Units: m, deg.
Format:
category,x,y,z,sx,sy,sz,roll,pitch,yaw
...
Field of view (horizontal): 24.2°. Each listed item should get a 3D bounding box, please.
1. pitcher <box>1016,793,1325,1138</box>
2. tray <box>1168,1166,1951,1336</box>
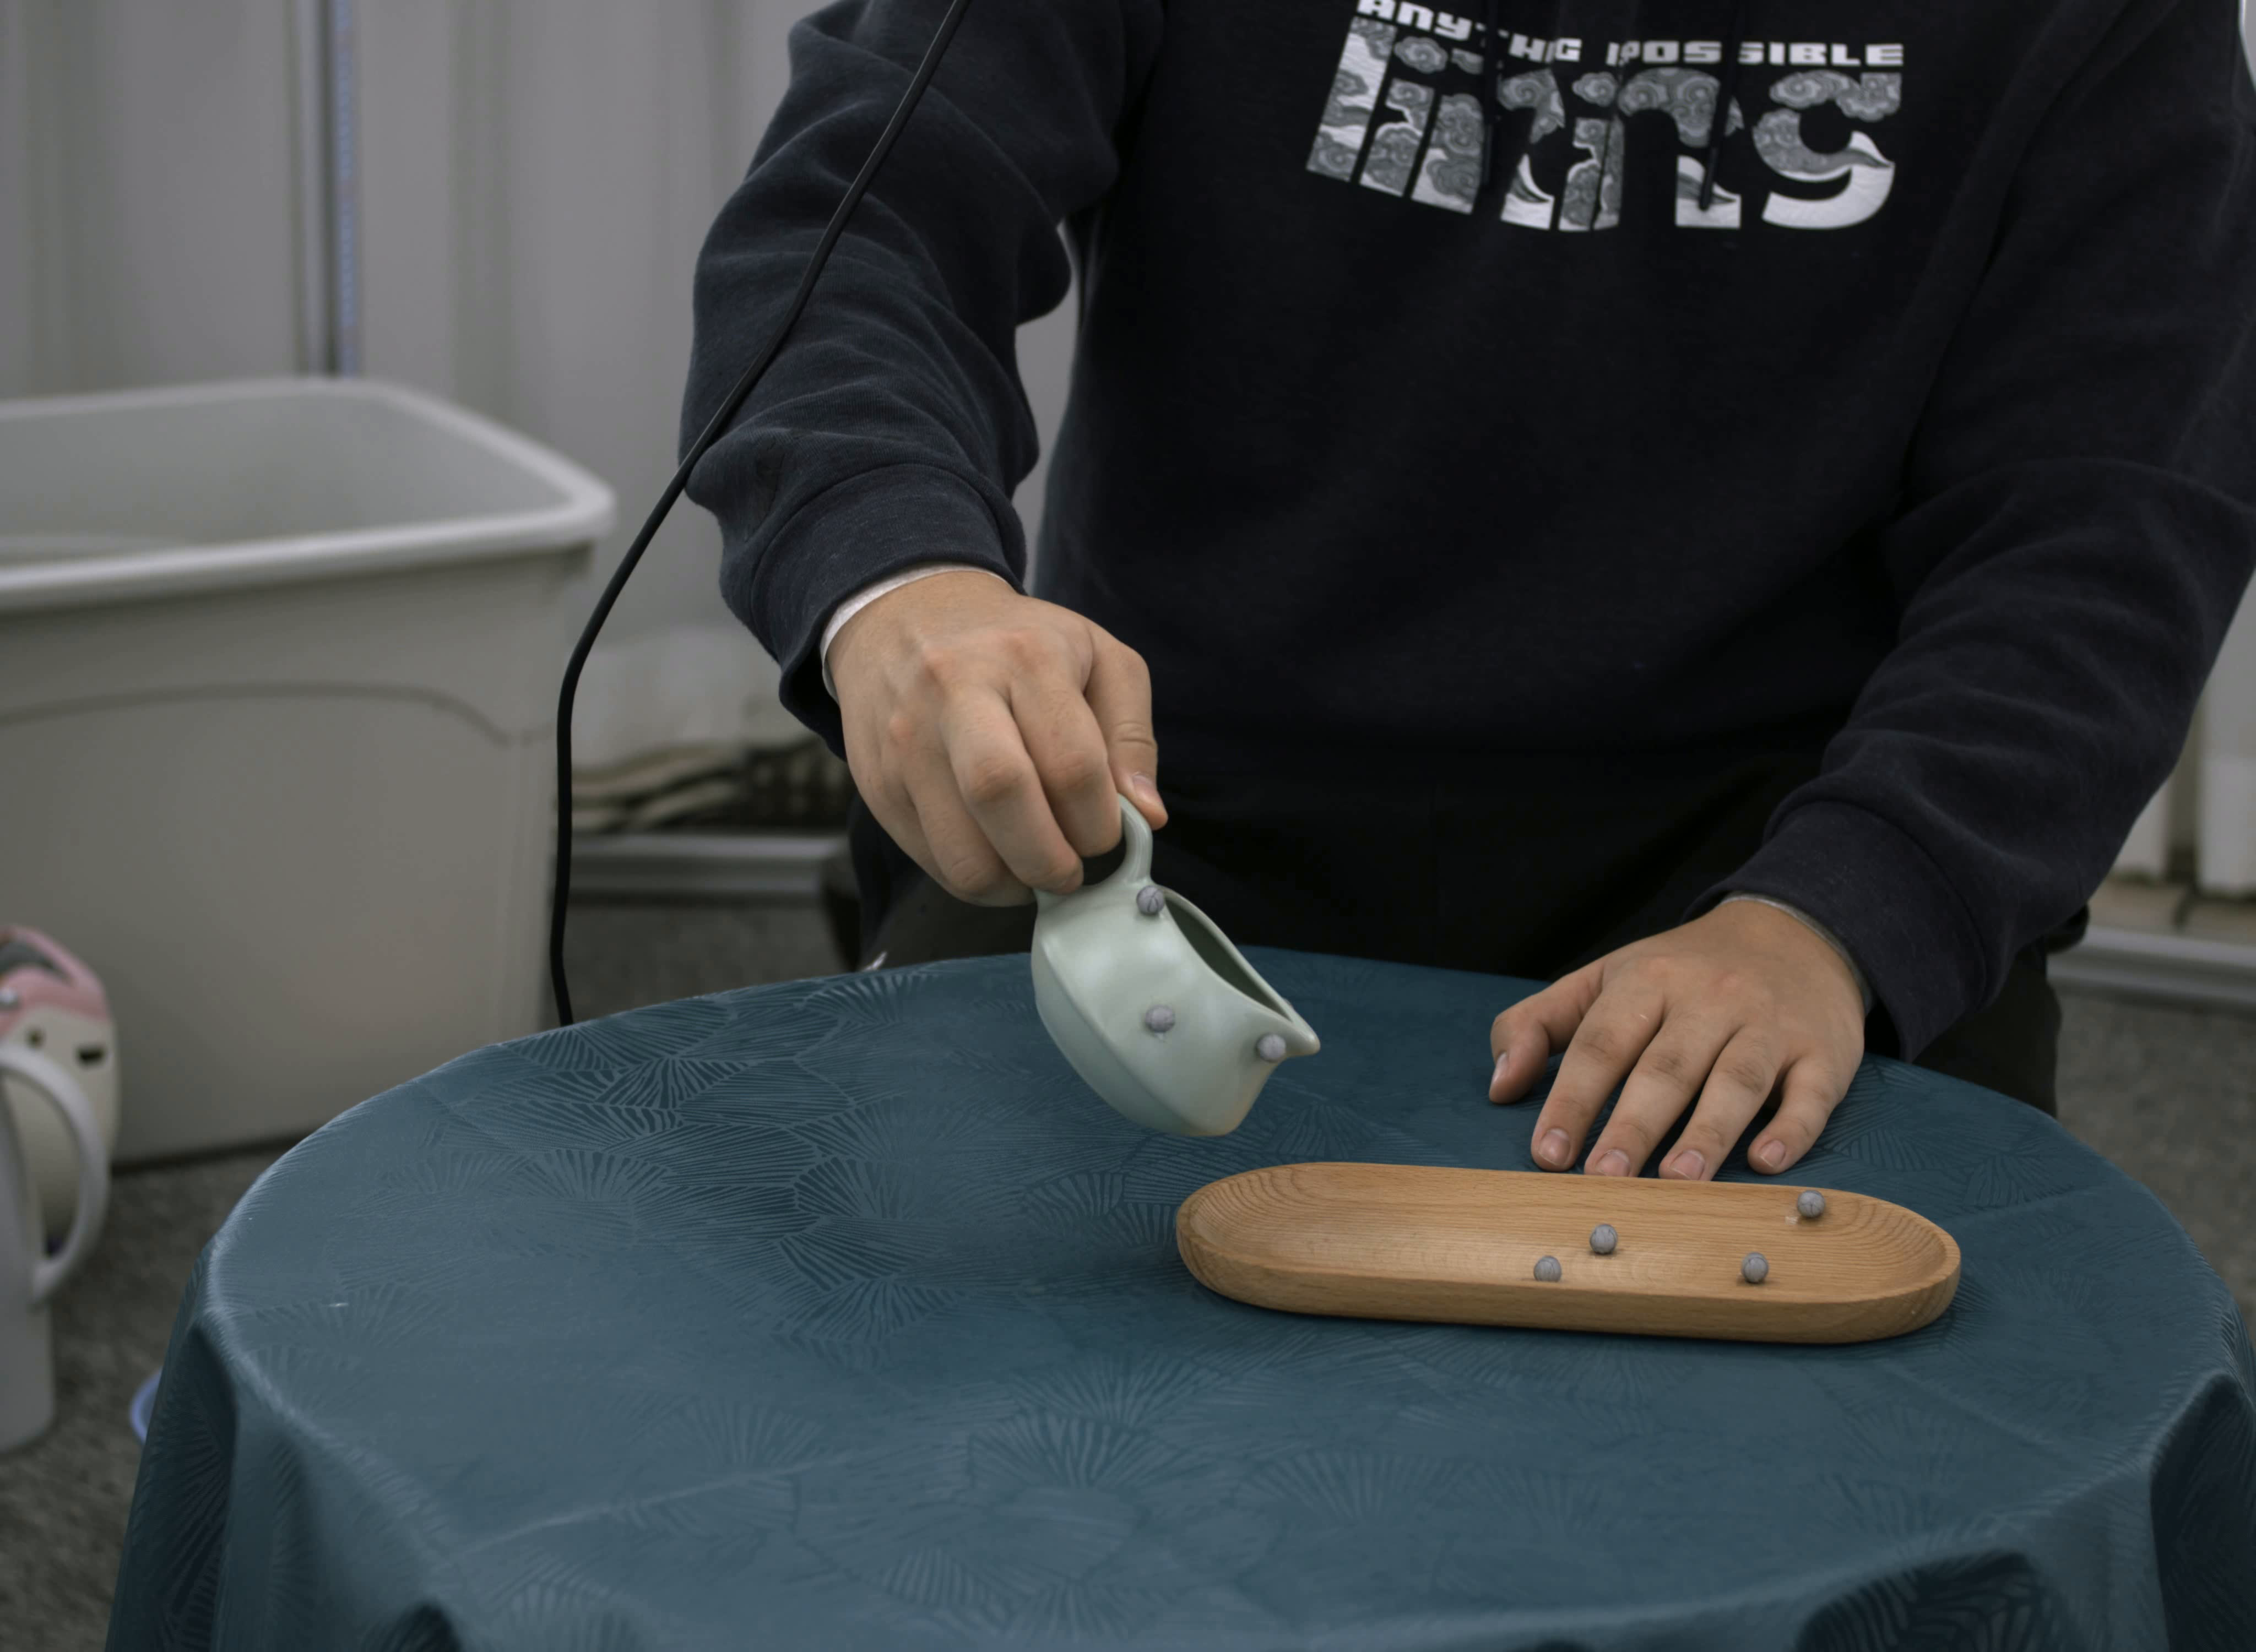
category,x,y,z,sx,sy,sz,roll,pitch,yaw
pitcher,0.003,0.042,1.539,0.108,0.060,0.086,48,11,2
tray,0.126,0.125,1.556,0.230,0.020,0.101,1,14,7
